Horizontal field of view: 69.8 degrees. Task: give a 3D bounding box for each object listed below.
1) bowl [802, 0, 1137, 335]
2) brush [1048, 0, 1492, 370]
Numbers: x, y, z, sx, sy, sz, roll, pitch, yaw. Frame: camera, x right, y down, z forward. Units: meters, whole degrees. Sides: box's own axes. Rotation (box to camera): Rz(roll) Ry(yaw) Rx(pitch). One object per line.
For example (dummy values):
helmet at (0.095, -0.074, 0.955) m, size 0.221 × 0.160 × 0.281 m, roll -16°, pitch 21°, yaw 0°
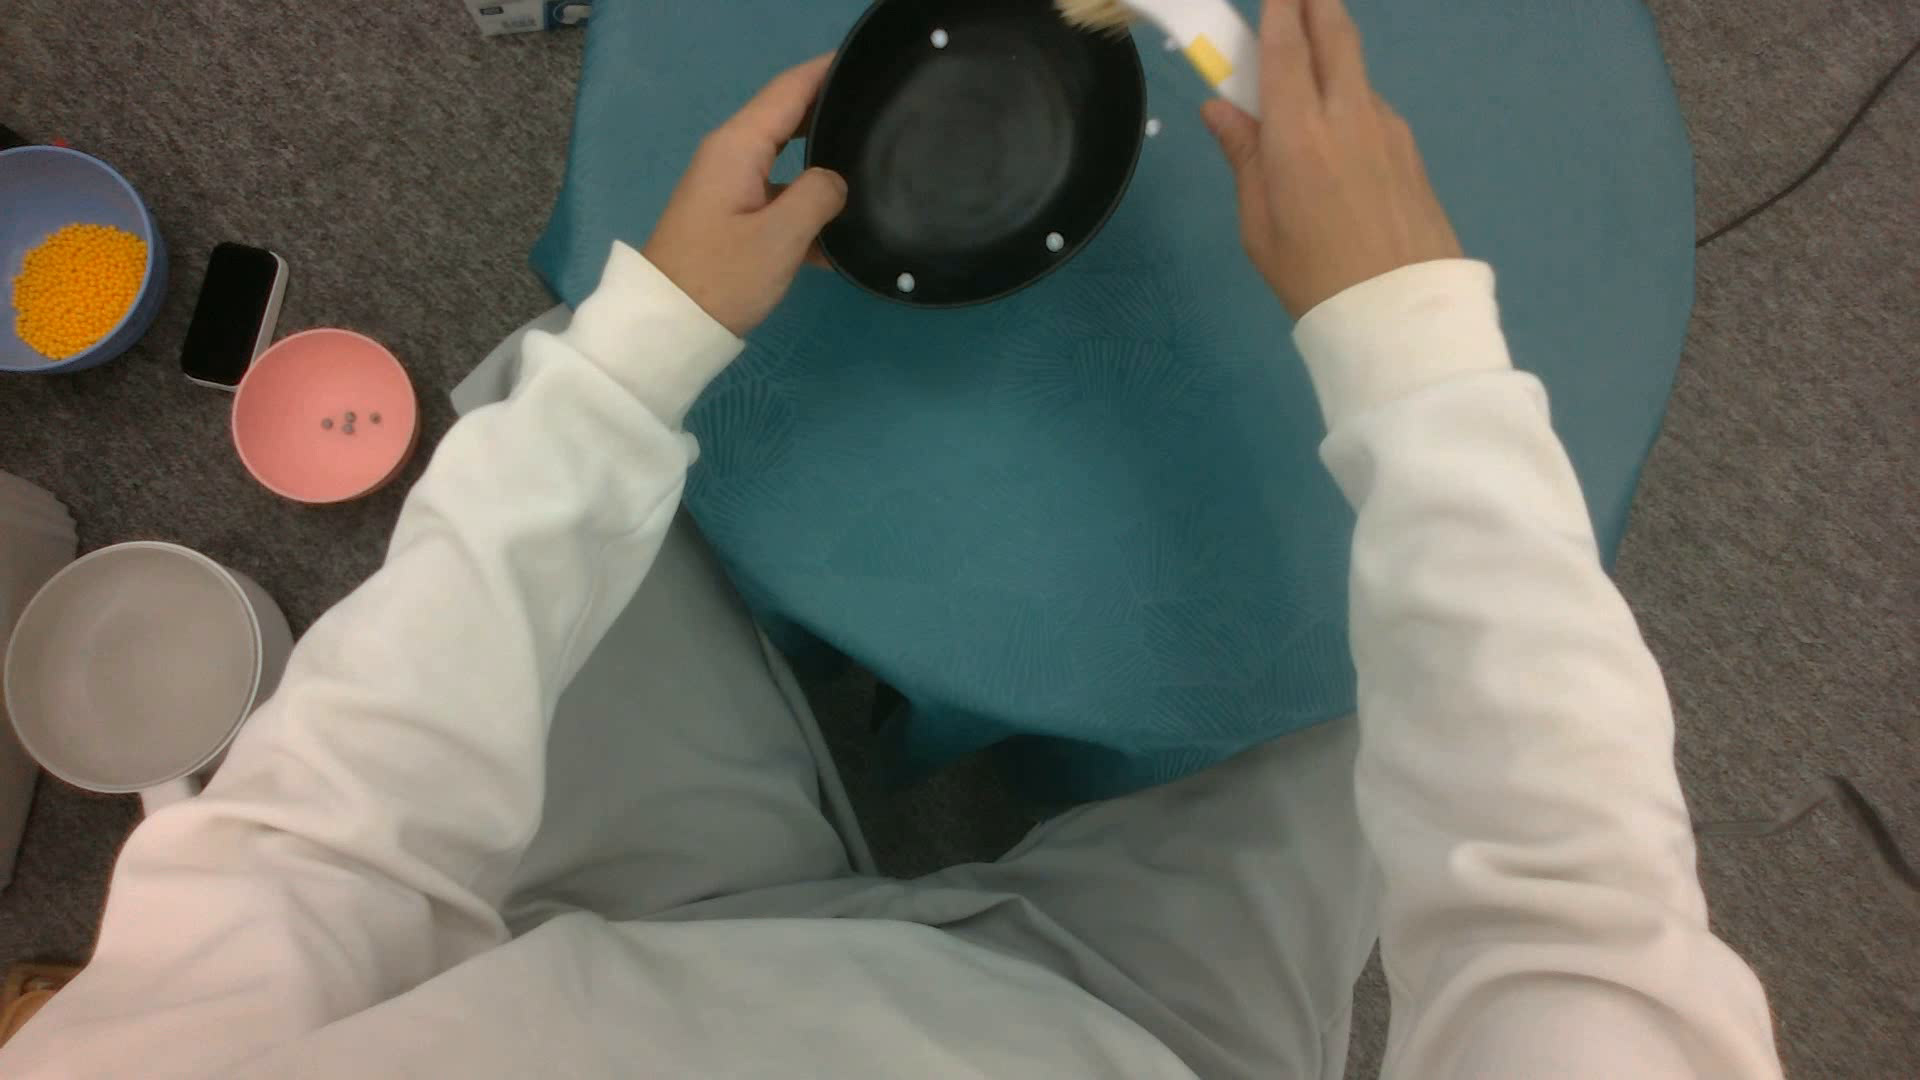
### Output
bowl at (0.002, -0.172, 0.648) m, size 0.137 × 0.067 × 0.170 m, roll 39°, pitch 92°, yaw -10°
brush at (0.140, -0.176, 0.621) m, size 0.068 × 0.056 × 0.266 m, roll -45°, pitch 102°, yaw -5°
